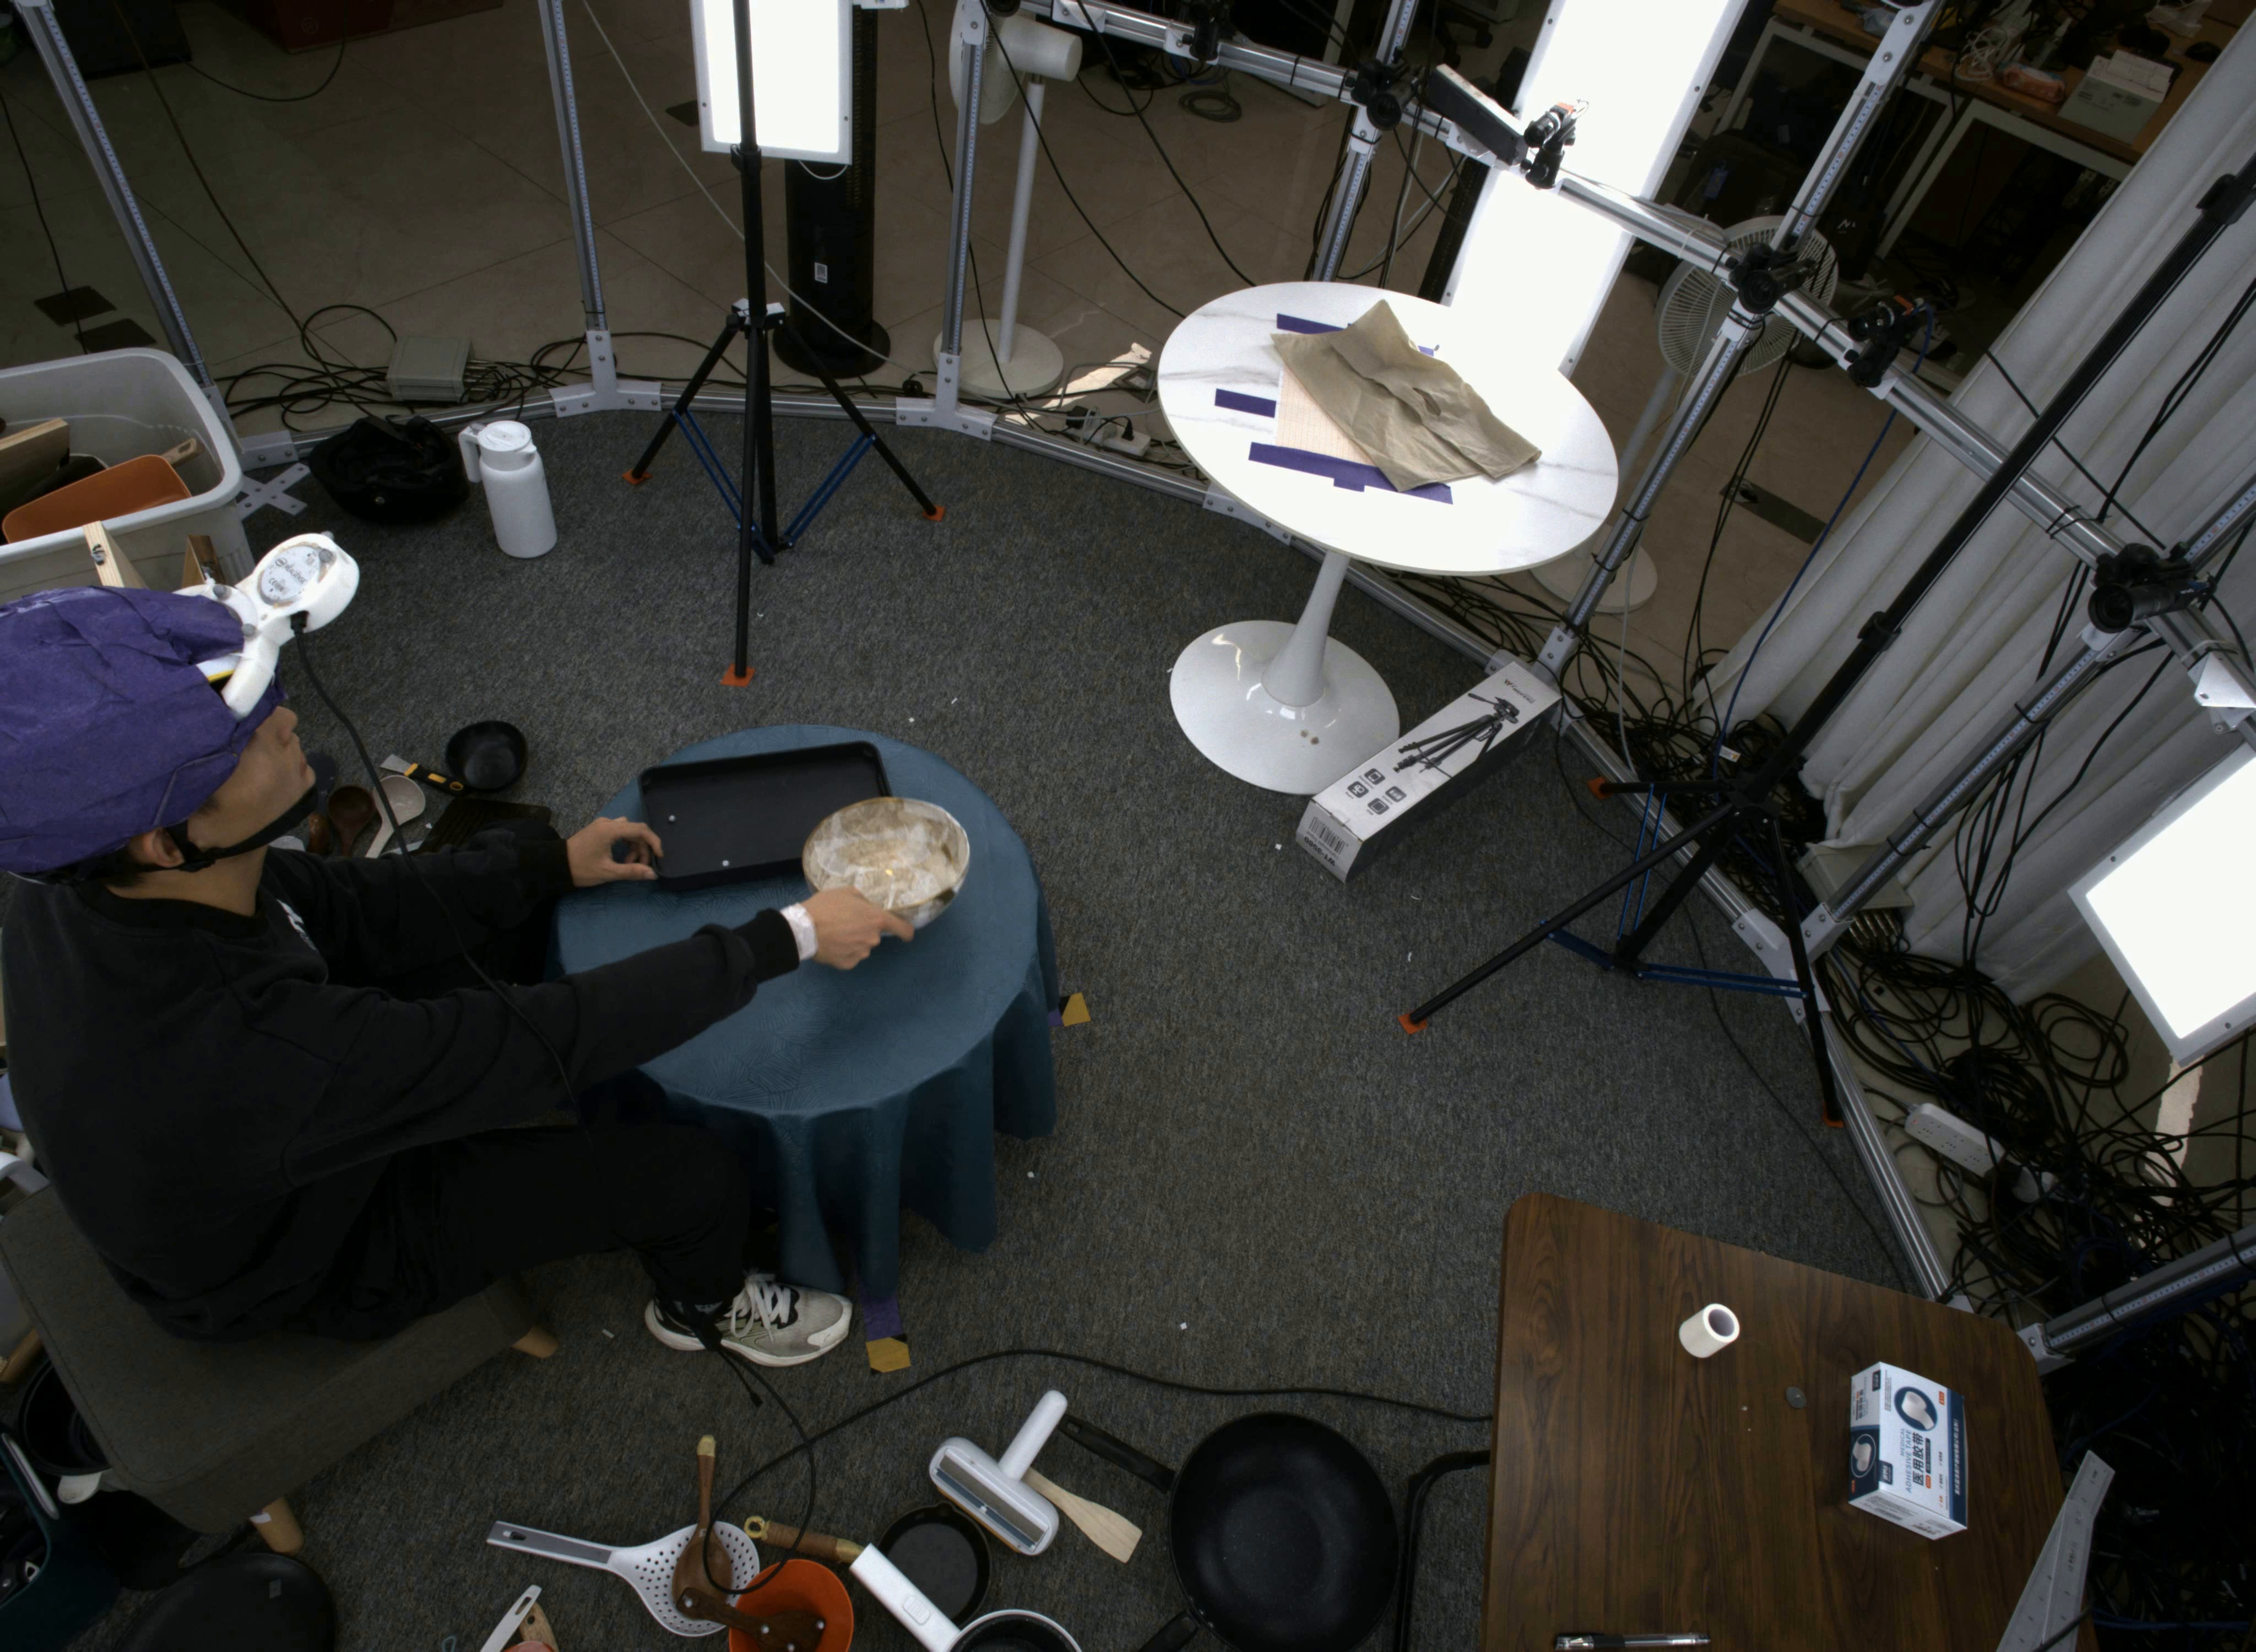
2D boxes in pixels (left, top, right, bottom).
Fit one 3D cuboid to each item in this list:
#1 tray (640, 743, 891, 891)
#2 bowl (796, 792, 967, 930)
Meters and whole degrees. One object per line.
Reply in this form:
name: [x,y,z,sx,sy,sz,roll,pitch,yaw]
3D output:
tray: [-0.469,-0.017,1.700,0.320,0.037,0.180,-7,56,-23]
bowl: [-0.303,0.057,1.614,0.213,0.097,0.210,4,44,-2]
